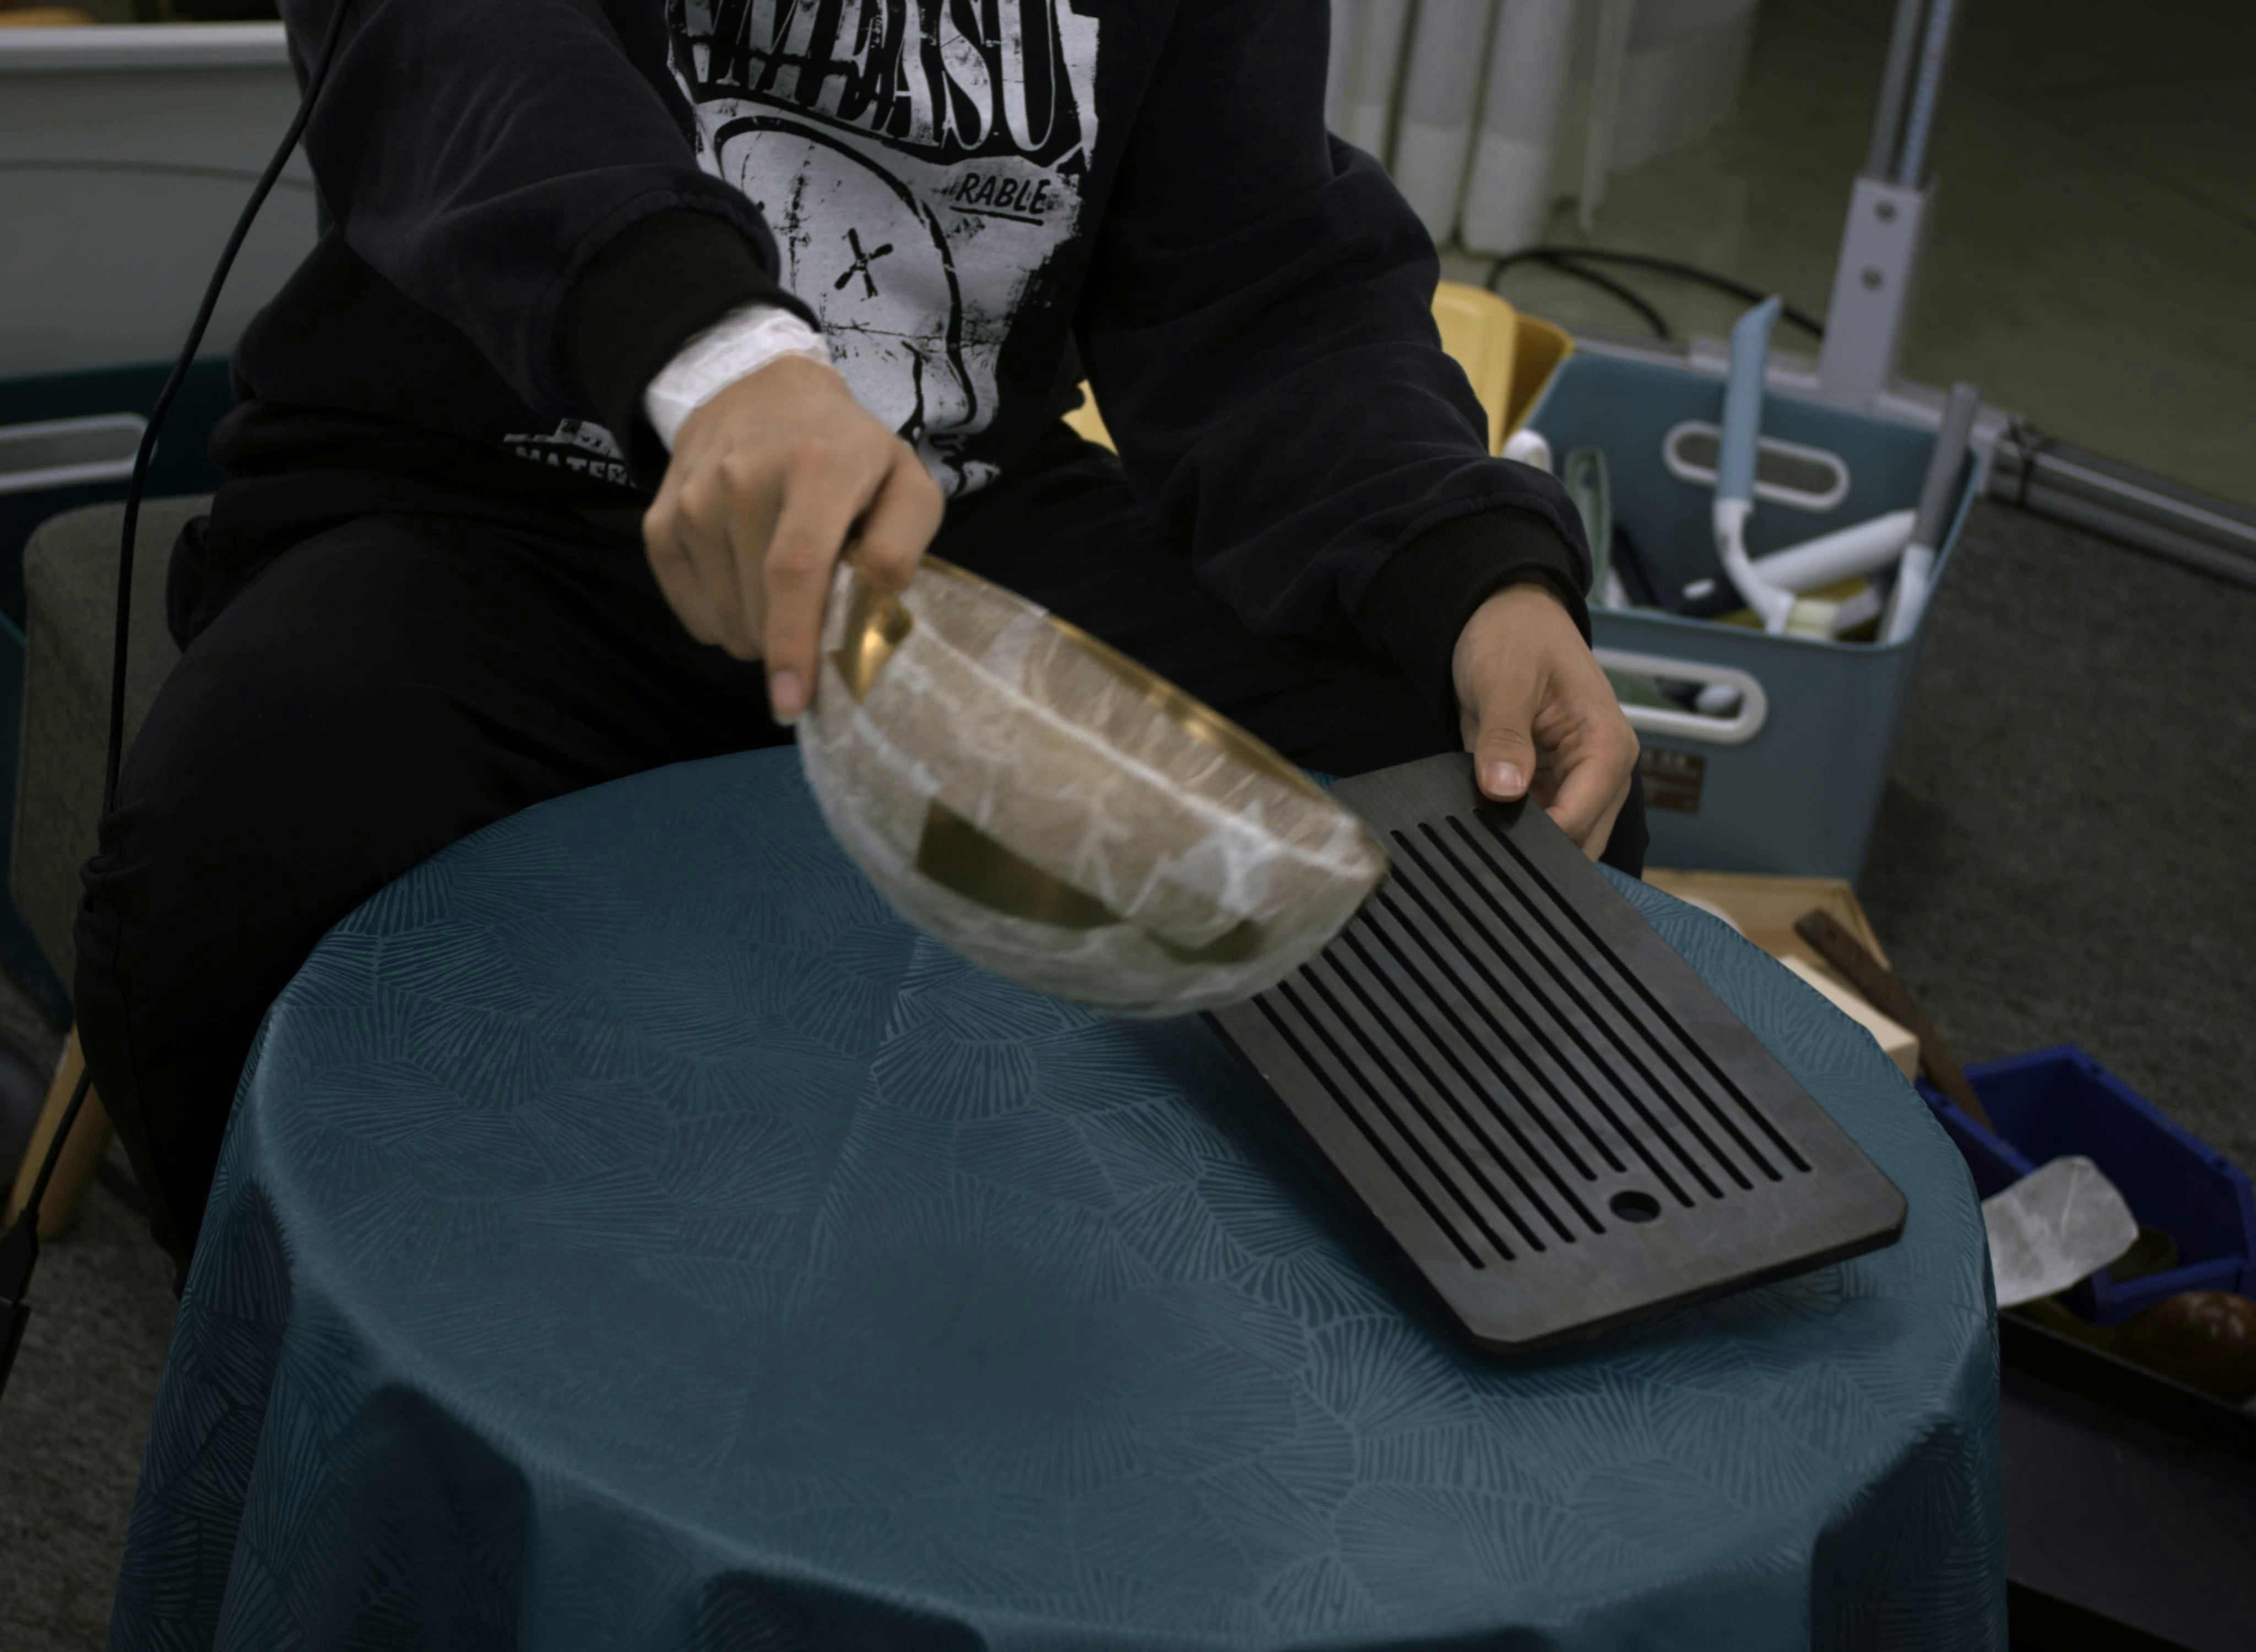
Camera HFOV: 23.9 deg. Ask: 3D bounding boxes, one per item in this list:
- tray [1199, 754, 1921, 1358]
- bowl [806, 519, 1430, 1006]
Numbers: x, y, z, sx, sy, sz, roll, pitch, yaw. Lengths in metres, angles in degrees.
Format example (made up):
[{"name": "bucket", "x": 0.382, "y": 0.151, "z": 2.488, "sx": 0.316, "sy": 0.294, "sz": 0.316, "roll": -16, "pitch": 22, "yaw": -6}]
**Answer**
[{"name": "tray", "x": 0.127, "y": 0.076, "z": 1.854, "sx": 0.169, "sy": 0.018, "sz": 0.309, "roll": -14, "pitch": 38, "yaw": -22}, {"name": "bowl", "x": -0.020, "y": -0.005, "z": 1.666, "sx": 0.214, "sy": 0.094, "sz": 0.215, "roll": 29, "pitch": 9, "yaw": -5}]
